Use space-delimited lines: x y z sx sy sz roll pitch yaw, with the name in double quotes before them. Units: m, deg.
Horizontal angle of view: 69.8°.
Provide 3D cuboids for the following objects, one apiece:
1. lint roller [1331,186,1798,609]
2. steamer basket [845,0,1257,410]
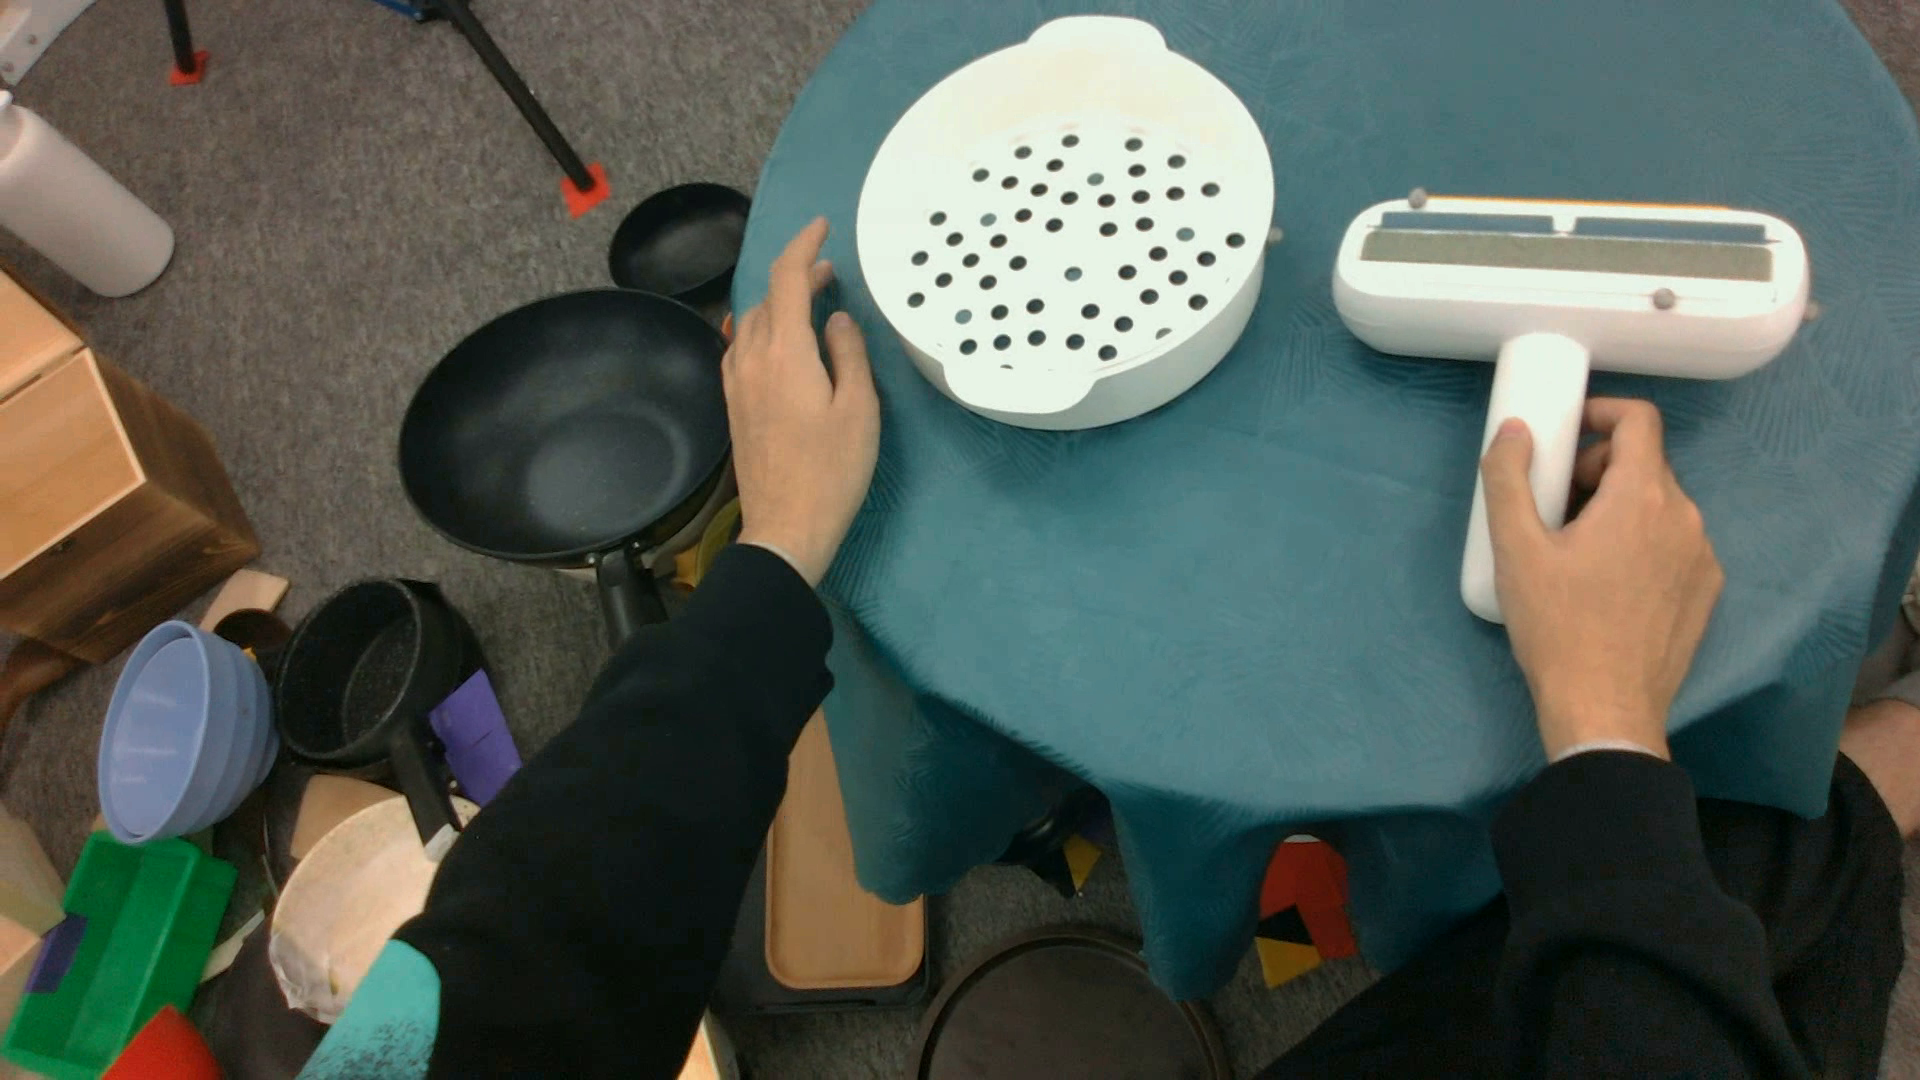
"lint roller" 0.247 -0.064 0.610 0.192 0.074 0.193 15 71 22
"steamer basket" 0.047 -0.162 0.694 0.201 0.069 0.231 8 71 15
